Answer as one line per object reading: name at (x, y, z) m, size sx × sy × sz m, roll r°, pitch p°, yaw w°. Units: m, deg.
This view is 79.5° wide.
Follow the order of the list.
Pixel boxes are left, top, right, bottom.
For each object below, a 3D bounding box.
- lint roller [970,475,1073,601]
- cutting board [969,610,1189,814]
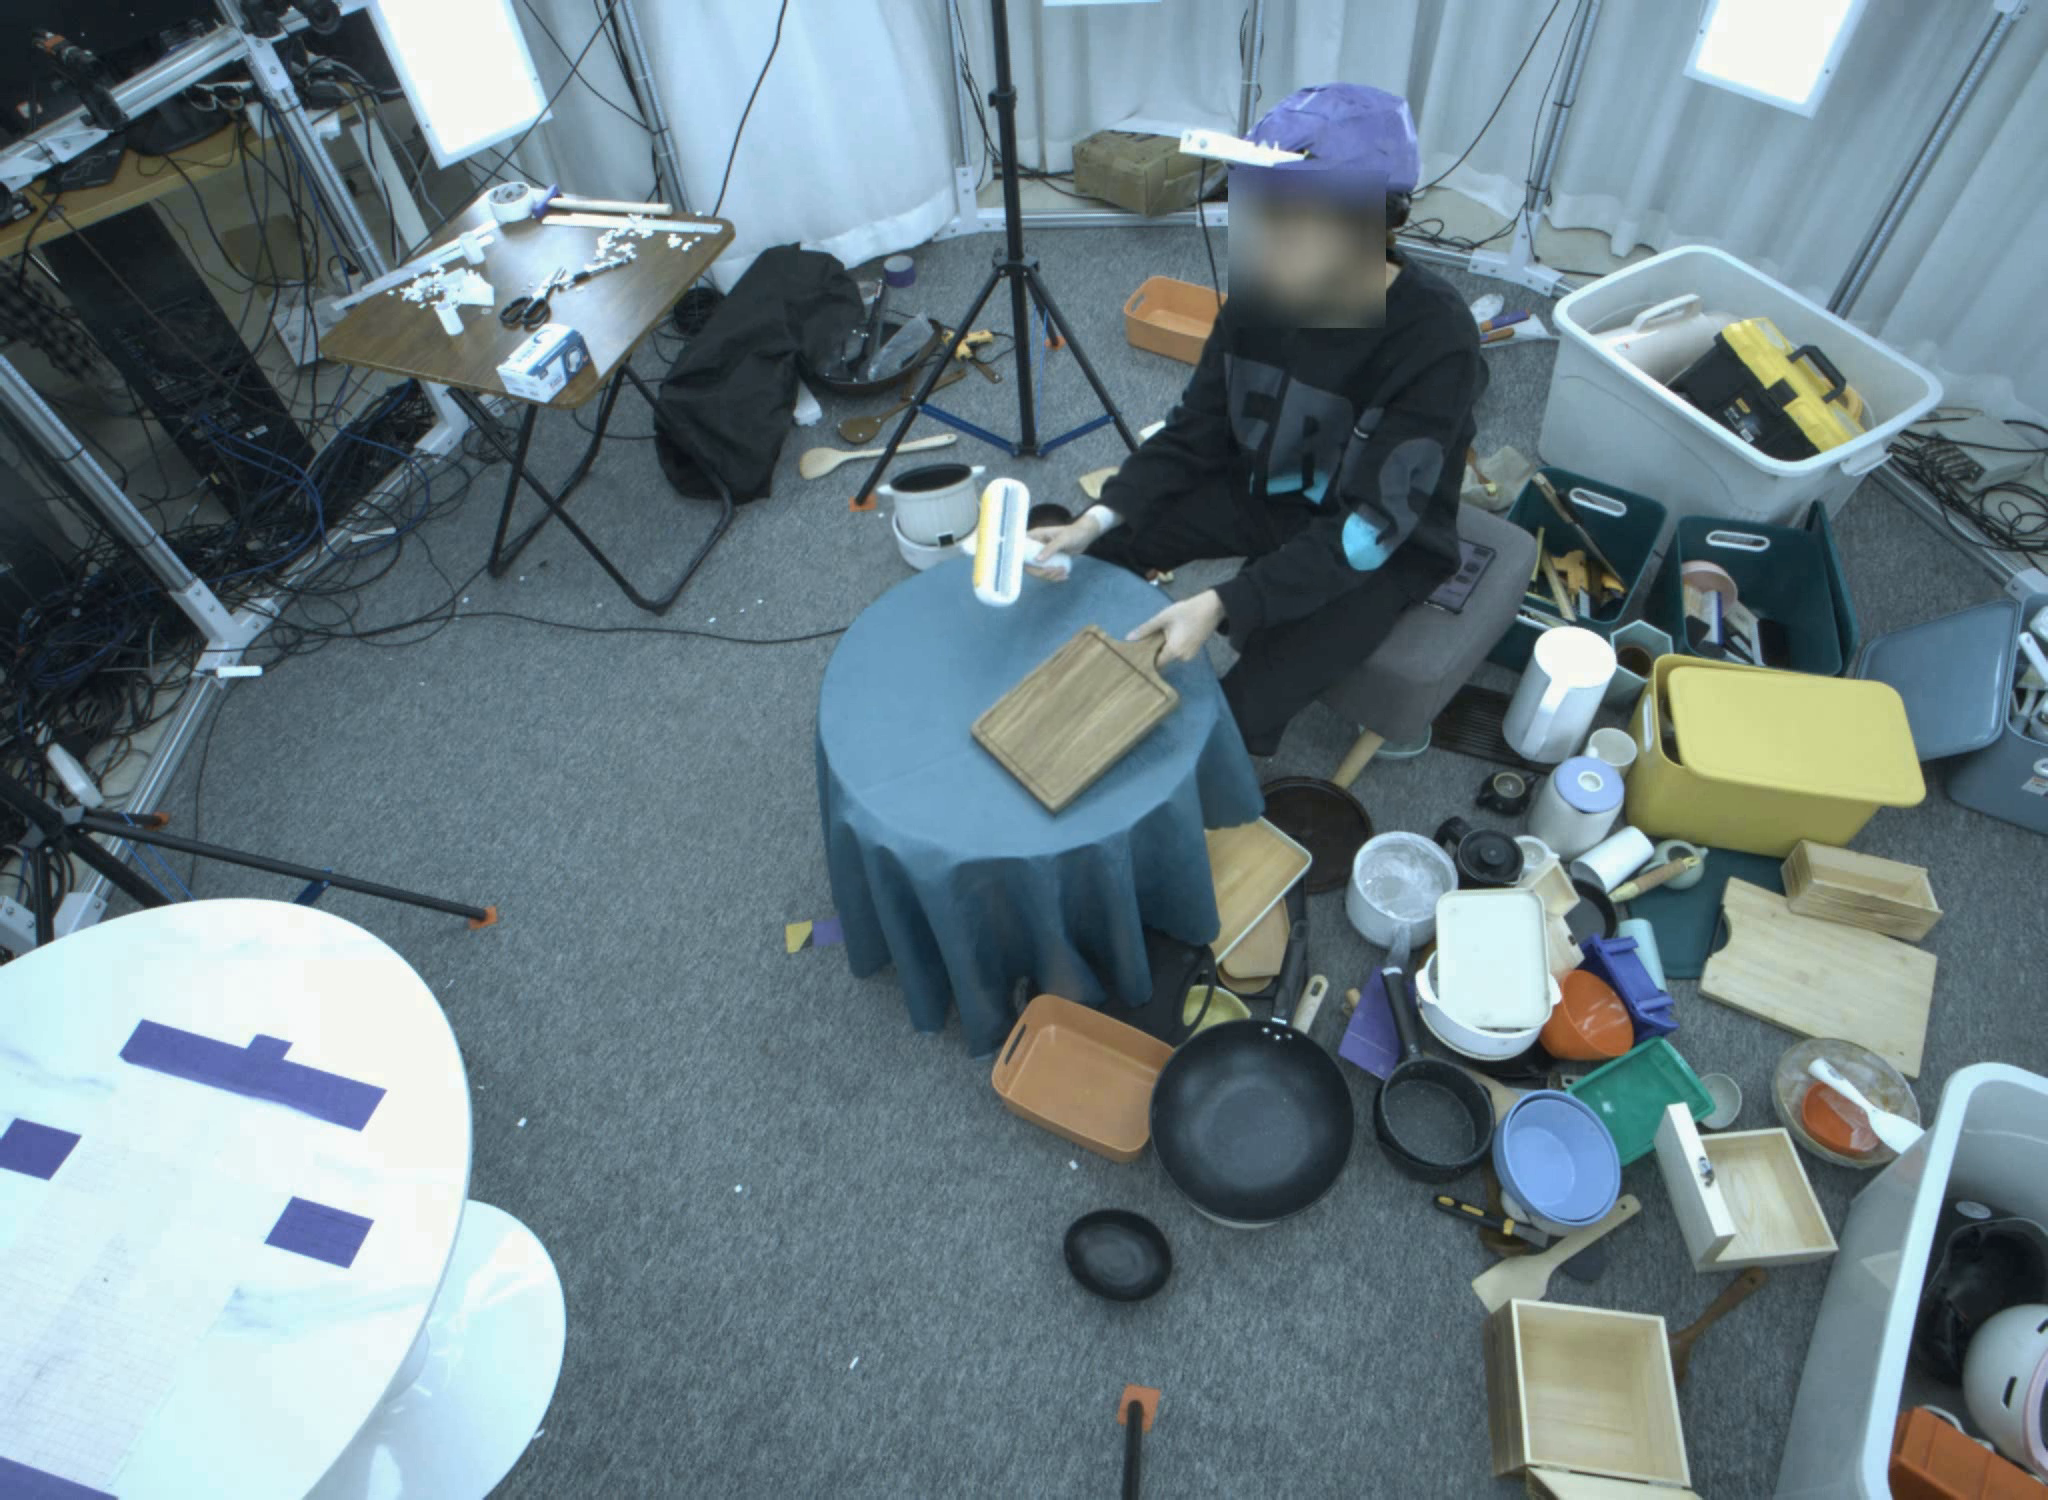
lint roller at (0.007, -0.307, 1.869) m, size 0.197 × 0.073 × 0.192 m, roll 11°, pitch 79°, yaw -35°
cutting board at (0.107, -0.082, 1.781) m, size 0.353 × 0.023 × 0.197 m, roll -41°, pitch 62°, yaw -10°
